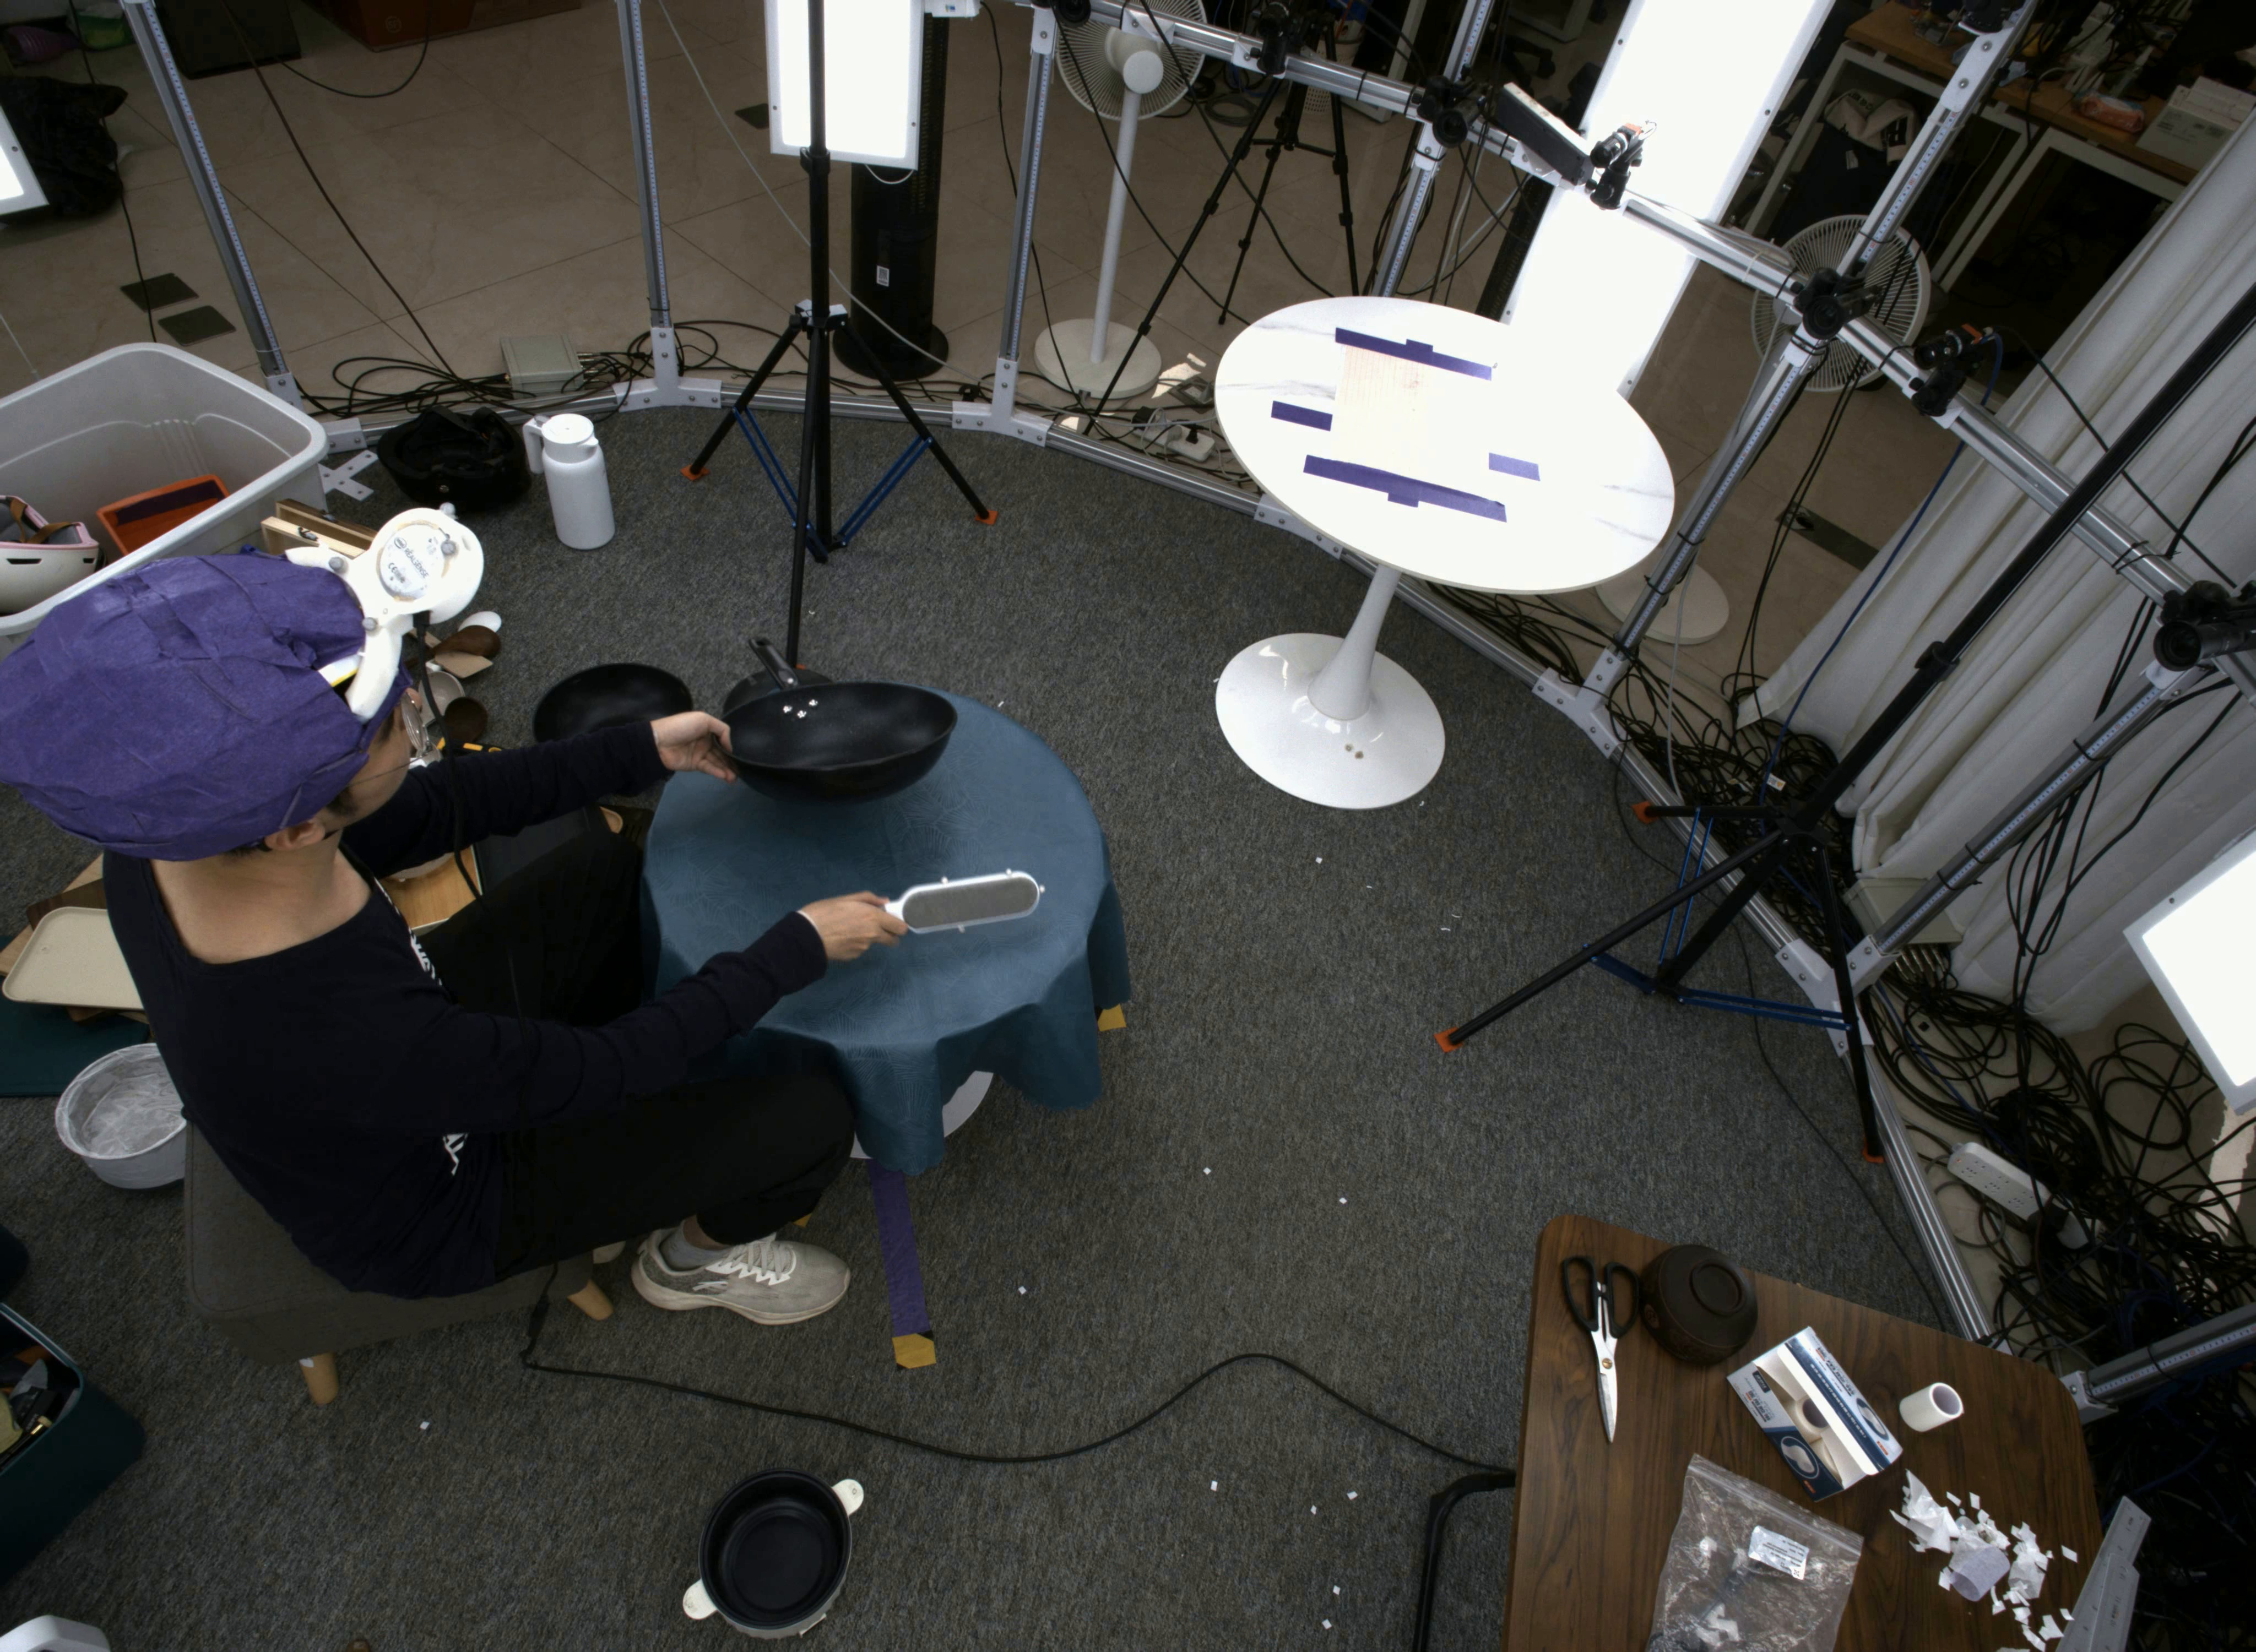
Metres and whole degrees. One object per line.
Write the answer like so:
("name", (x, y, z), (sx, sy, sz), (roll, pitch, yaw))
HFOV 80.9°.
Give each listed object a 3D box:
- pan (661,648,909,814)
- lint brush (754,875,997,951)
("pan", (-0.478, -0.127, 1.705), (0.313, 0.115, 0.458), (-16, 30, -32))
("lint brush", (-0.307, 0.109, 1.606), (0.311, 0.061, 0.020), (-11, 16, -25))
